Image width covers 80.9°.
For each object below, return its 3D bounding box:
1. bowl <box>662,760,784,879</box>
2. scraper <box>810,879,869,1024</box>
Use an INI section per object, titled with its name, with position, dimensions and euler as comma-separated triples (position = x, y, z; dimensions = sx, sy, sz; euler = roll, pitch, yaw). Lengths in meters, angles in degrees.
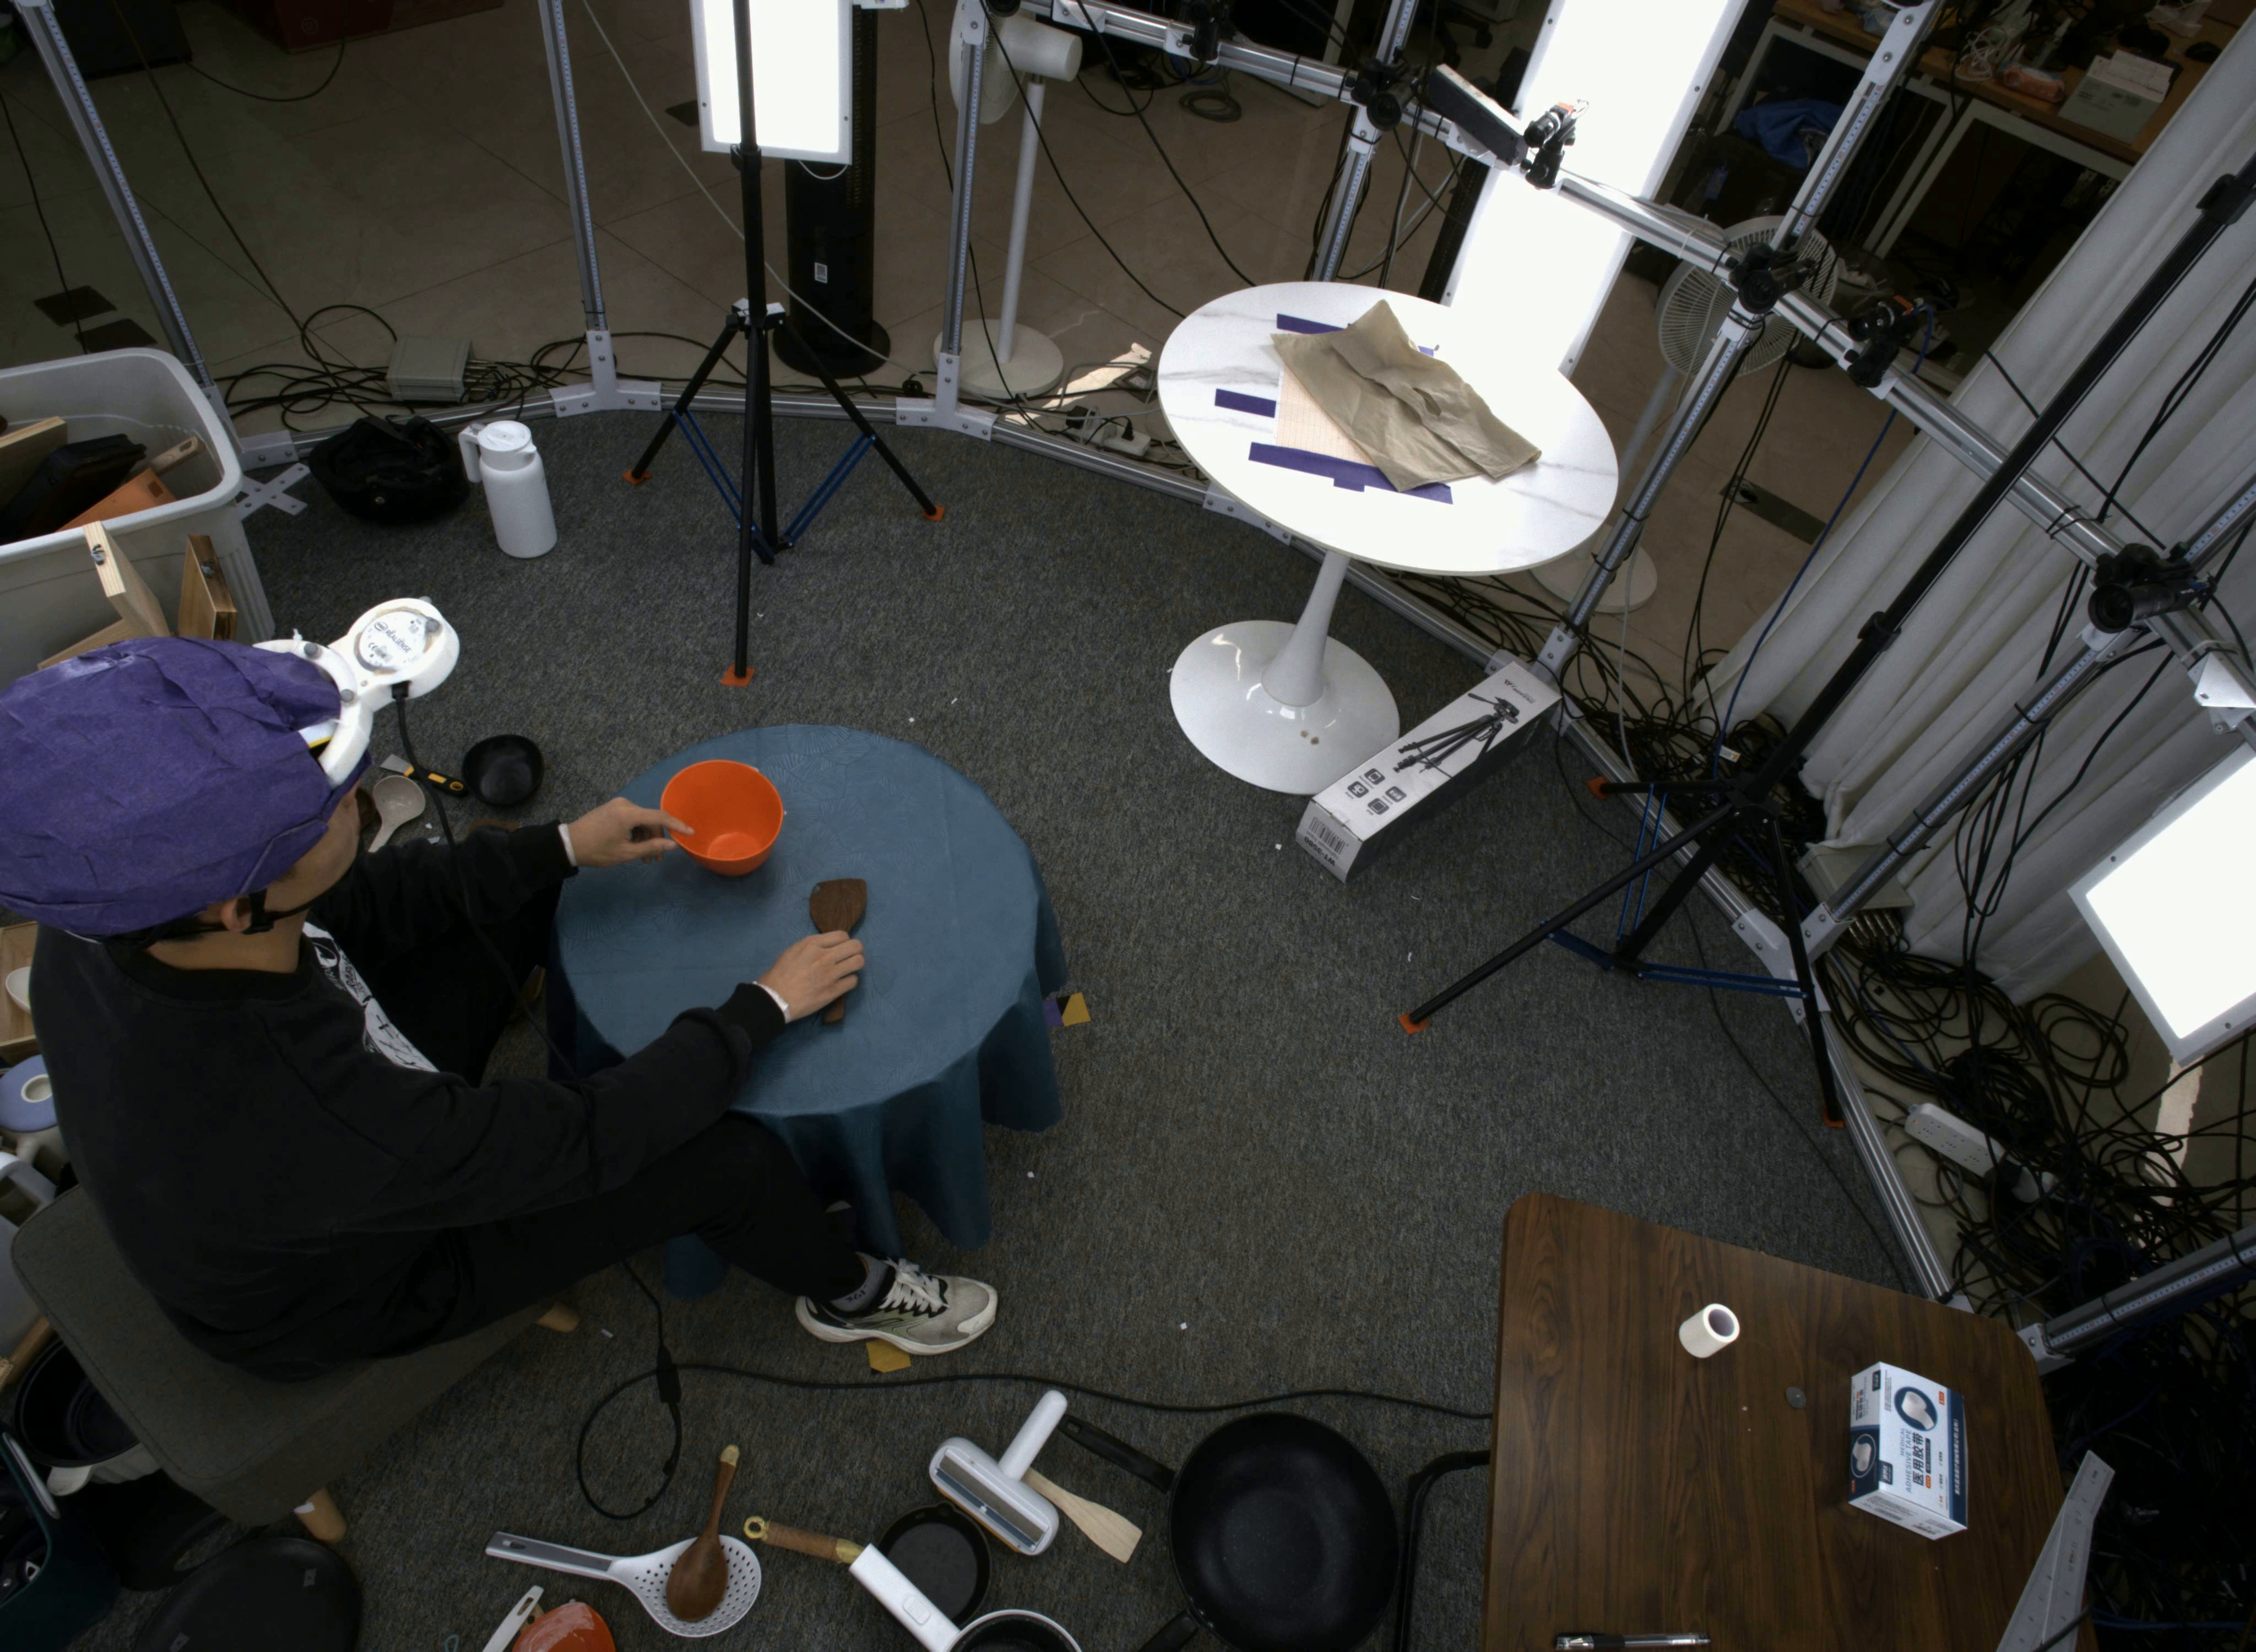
[bowl]
position = -0.510, 0.002, 1.640
dimensions = 0.148, 0.107, 0.145
euler = 7, 52, -8
[scraper]
position = -0.363, 0.152, 1.617
dimensions = 0.075, 0.011, 0.207
euler = -3, 52, -5
